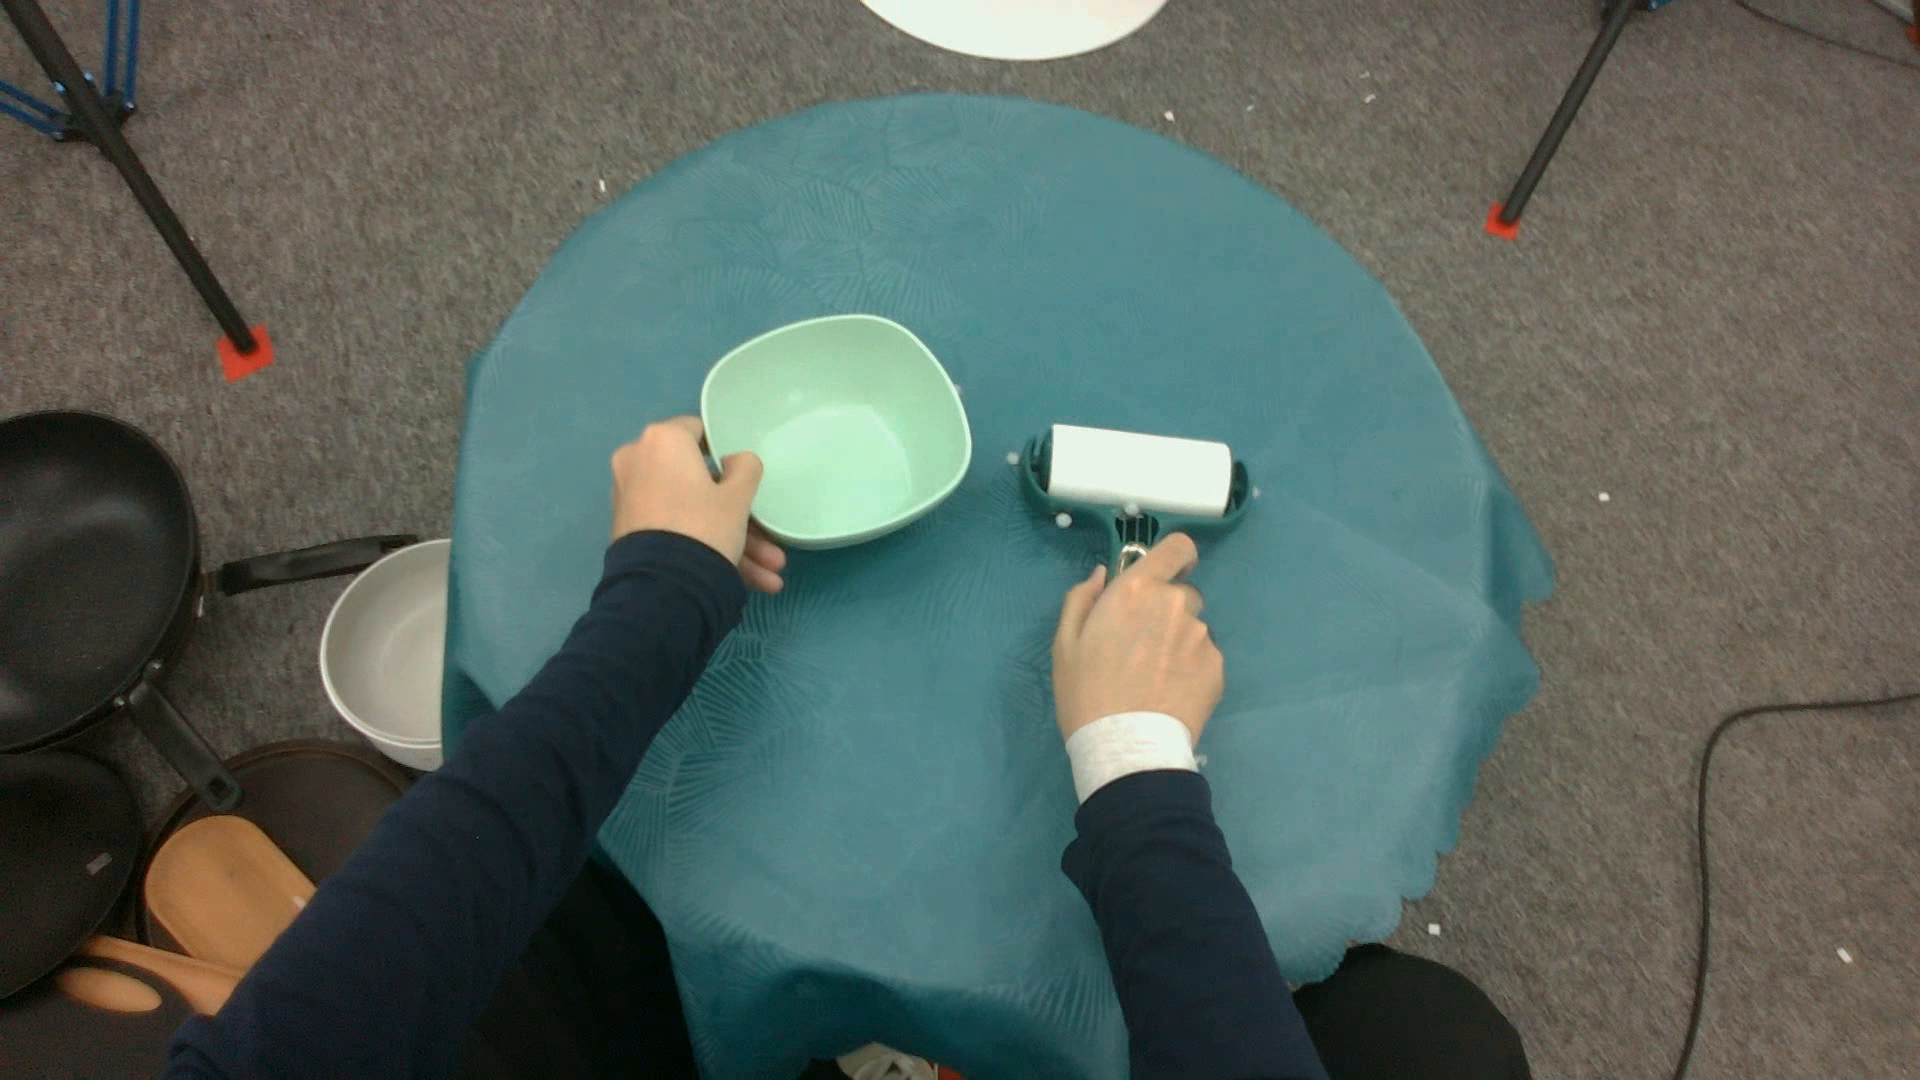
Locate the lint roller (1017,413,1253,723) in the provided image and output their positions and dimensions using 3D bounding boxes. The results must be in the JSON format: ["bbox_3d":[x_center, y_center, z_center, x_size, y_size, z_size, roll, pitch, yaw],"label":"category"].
[{"bbox_3d":[0.093,0.010,0.738,0.134,0.048,0.181,7,51,-2],"label":"lint roller"}]

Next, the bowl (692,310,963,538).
[{"bbox_3d":[-0.074,-0.055,0.766,0.151,0.058,0.152,3,58,-4],"label":"bowl"}]
